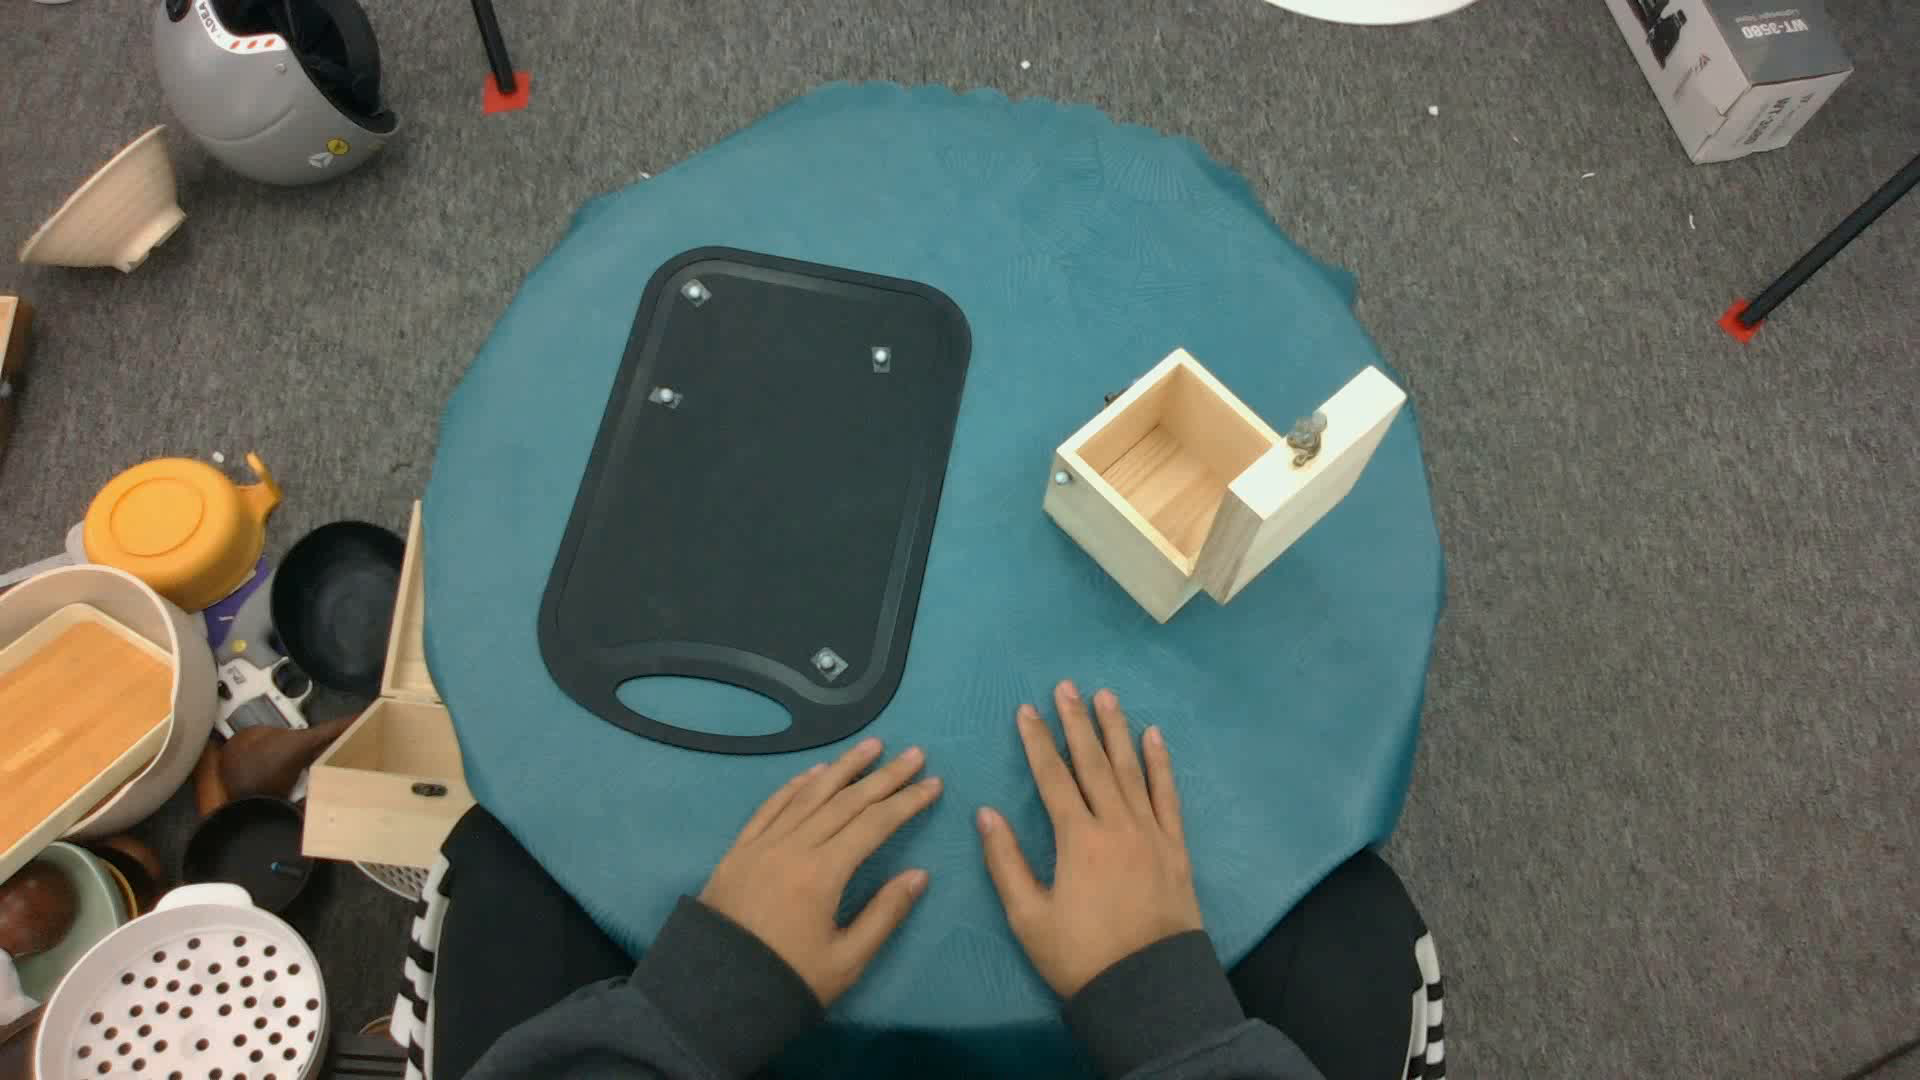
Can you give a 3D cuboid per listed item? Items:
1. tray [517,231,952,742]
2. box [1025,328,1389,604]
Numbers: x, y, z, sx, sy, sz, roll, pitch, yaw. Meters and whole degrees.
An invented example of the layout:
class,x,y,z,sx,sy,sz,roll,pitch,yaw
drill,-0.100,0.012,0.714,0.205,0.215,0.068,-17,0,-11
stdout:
class,x,y,z,sx,sy,sz,roll,pitch,yaw
tray,-0.128,-0.040,0.813,0.211,0.010,0.326,11,66,1
box,0.121,-0.056,0.739,0.103,0.184,0.134,-41,76,-19
